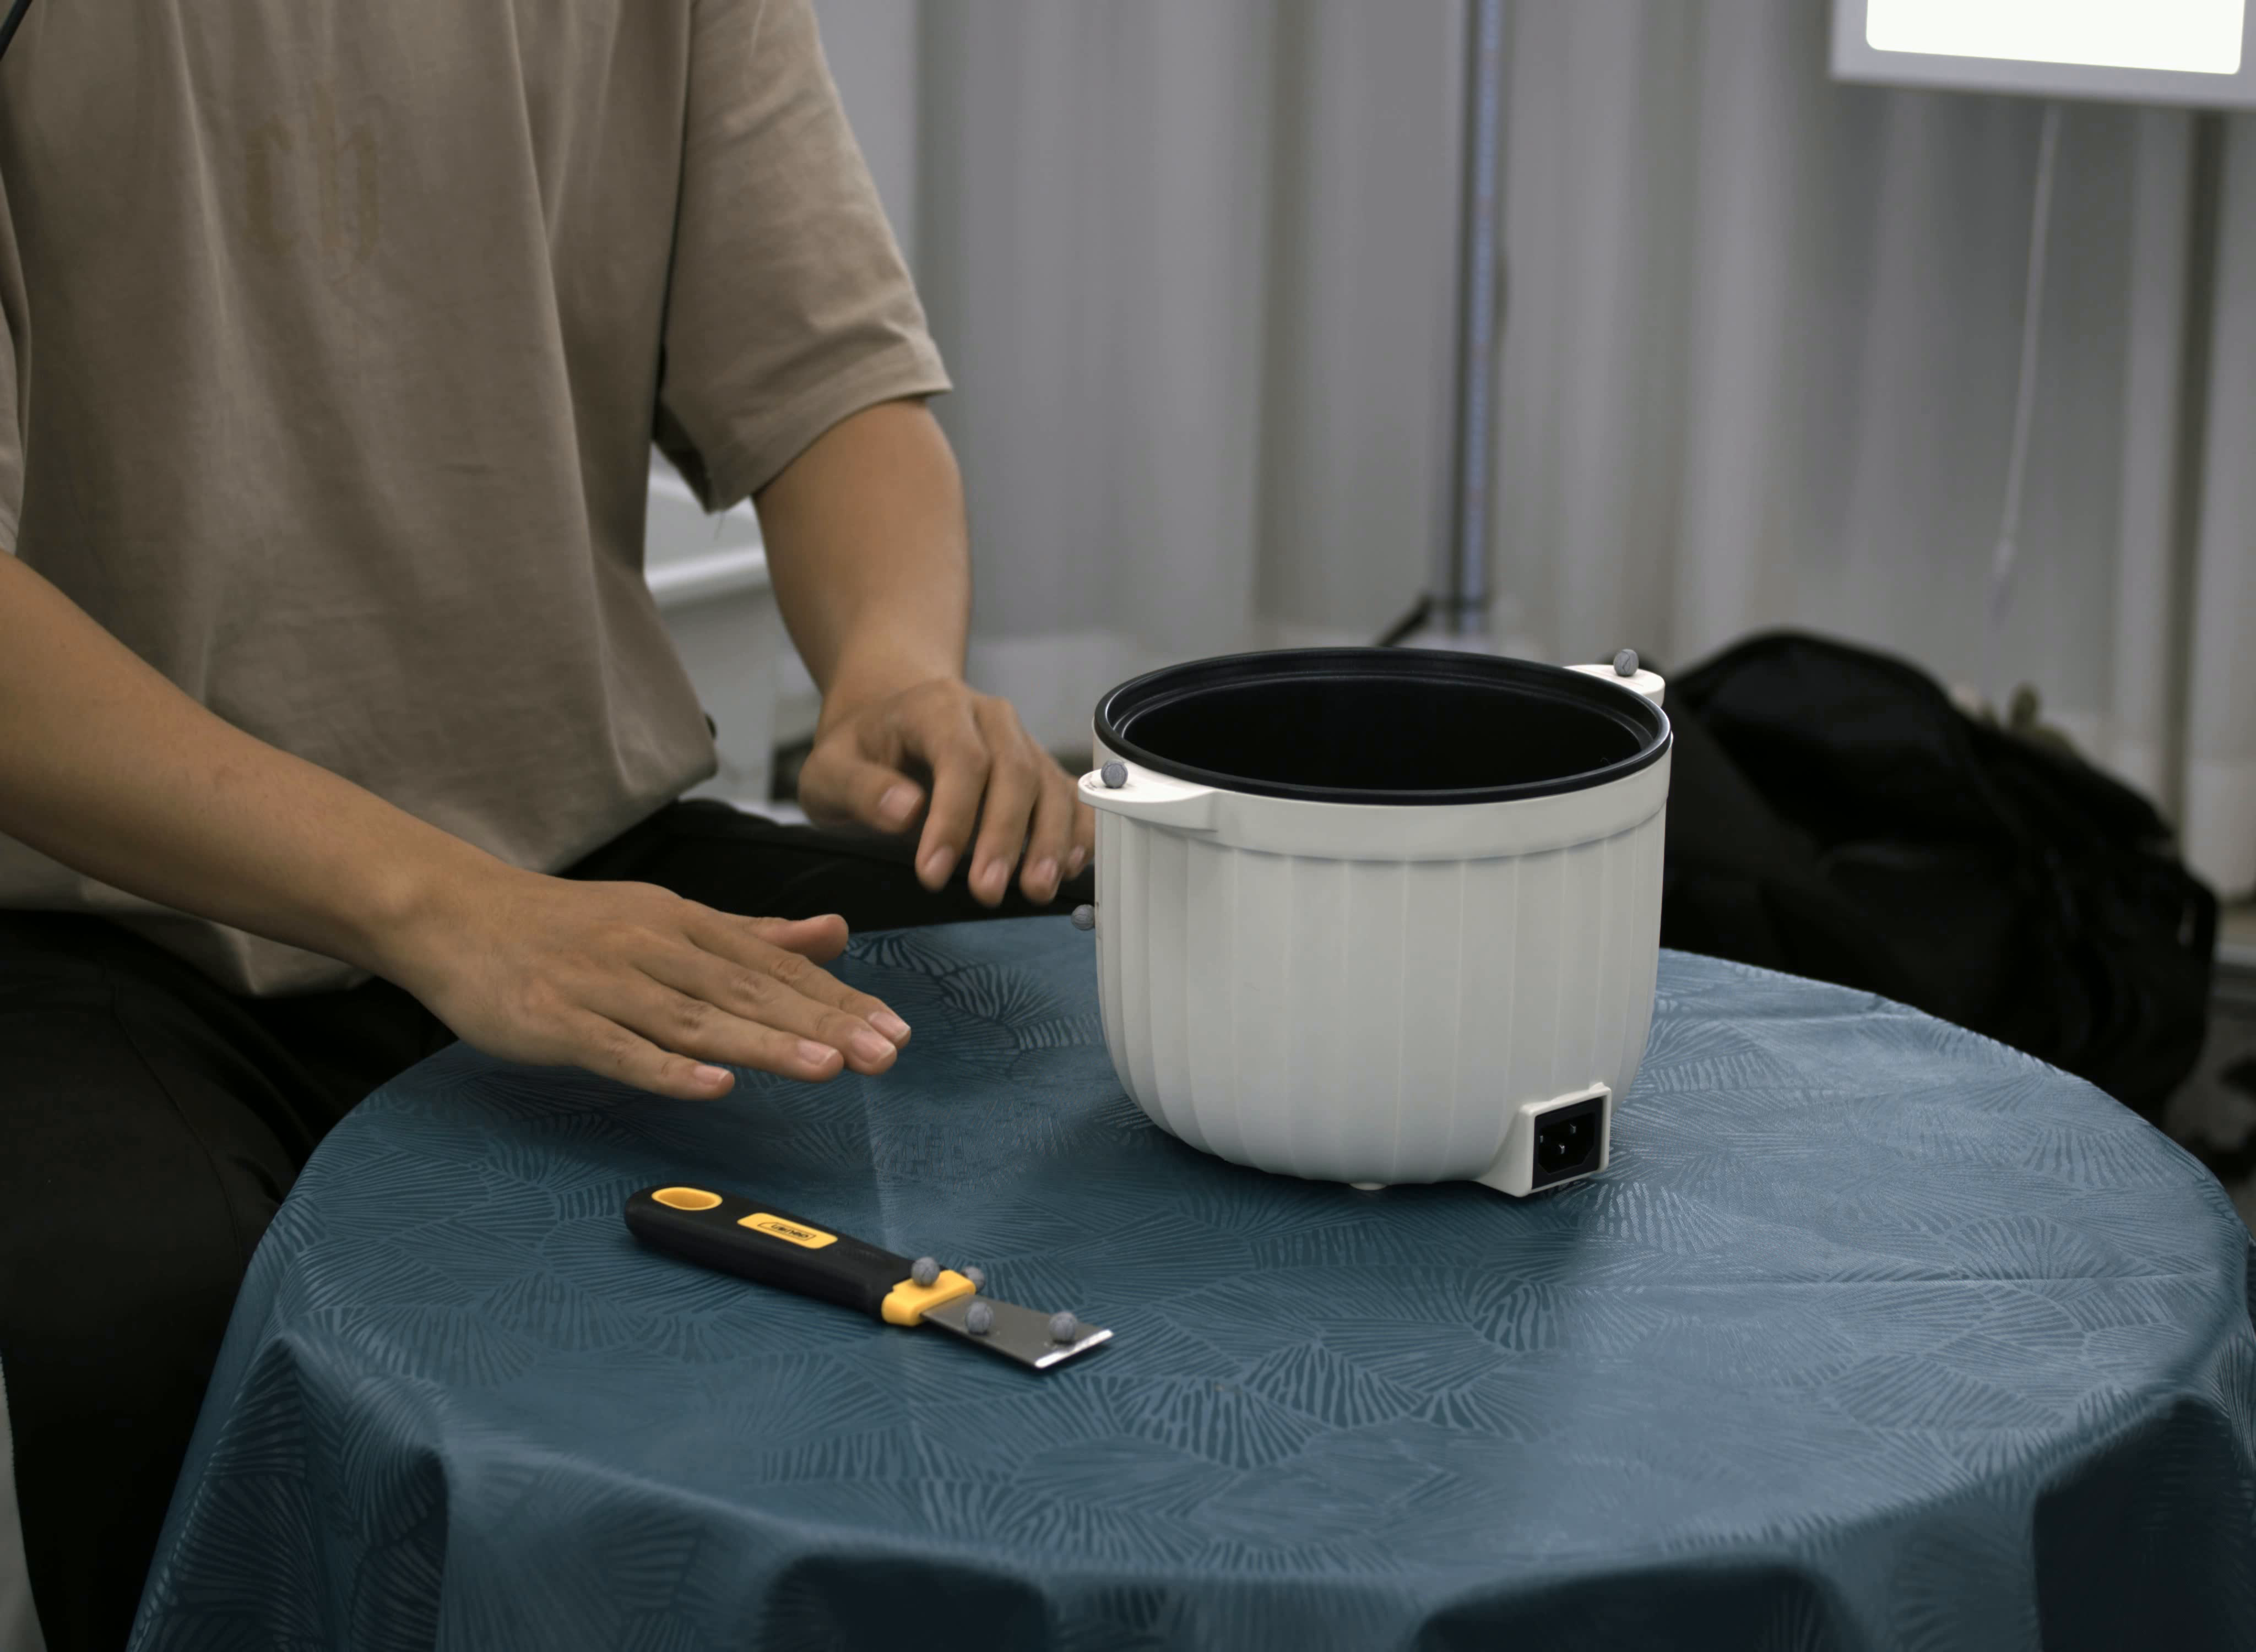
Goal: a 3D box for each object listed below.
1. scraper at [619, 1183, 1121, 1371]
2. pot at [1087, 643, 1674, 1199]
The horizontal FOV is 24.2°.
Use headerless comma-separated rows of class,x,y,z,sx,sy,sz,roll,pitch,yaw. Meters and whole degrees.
scraper,-0.080,0.130,1.529,0.169,0.015,0.039,14,25,33
pot,0.074,0.029,1.671,0.241,0.144,0.188,-12,24,-42
